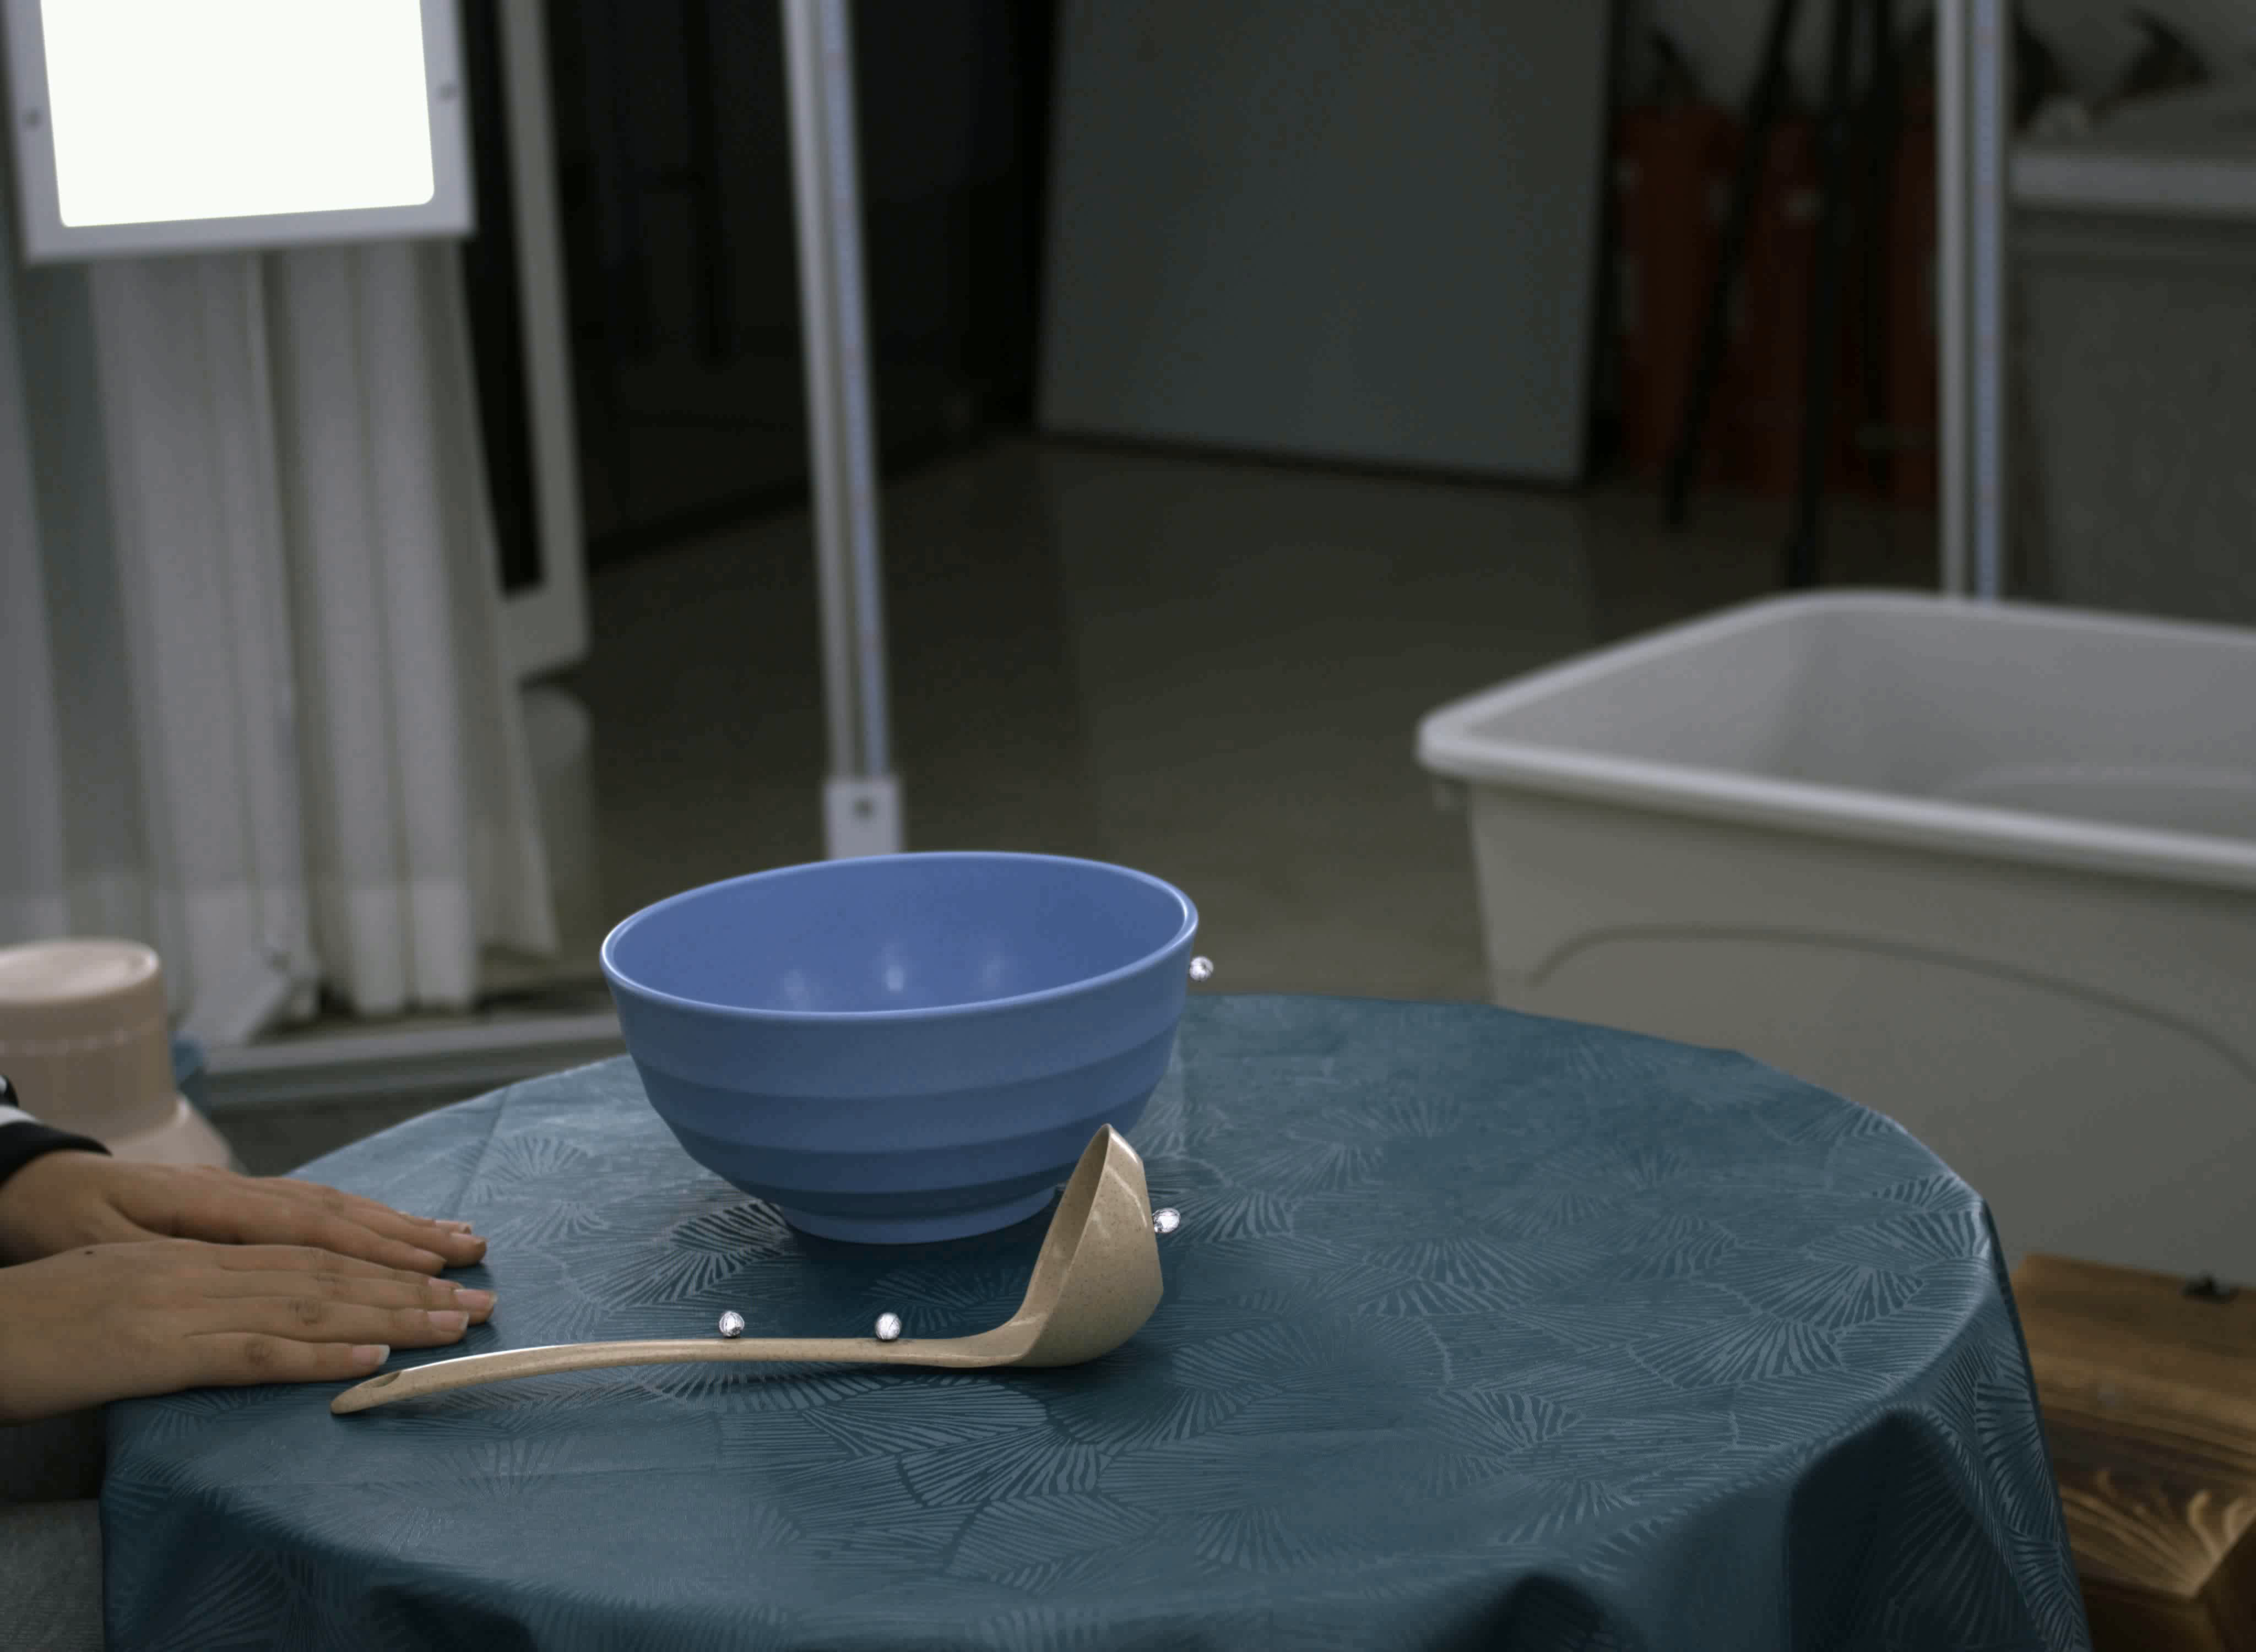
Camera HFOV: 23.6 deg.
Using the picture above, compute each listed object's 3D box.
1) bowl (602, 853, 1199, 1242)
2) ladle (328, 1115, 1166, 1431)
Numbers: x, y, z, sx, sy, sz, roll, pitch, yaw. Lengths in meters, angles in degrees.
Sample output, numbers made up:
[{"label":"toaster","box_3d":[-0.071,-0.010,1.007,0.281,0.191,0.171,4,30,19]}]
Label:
[{"label":"bowl","box_3d":[-0.073,0.077,1.764,0.194,0.096,0.197,-1,12,-1]},{"label":"ladle","box_3d":[-0.115,0.132,1.605,0.251,0.073,0.072,-5,13,-2]}]
